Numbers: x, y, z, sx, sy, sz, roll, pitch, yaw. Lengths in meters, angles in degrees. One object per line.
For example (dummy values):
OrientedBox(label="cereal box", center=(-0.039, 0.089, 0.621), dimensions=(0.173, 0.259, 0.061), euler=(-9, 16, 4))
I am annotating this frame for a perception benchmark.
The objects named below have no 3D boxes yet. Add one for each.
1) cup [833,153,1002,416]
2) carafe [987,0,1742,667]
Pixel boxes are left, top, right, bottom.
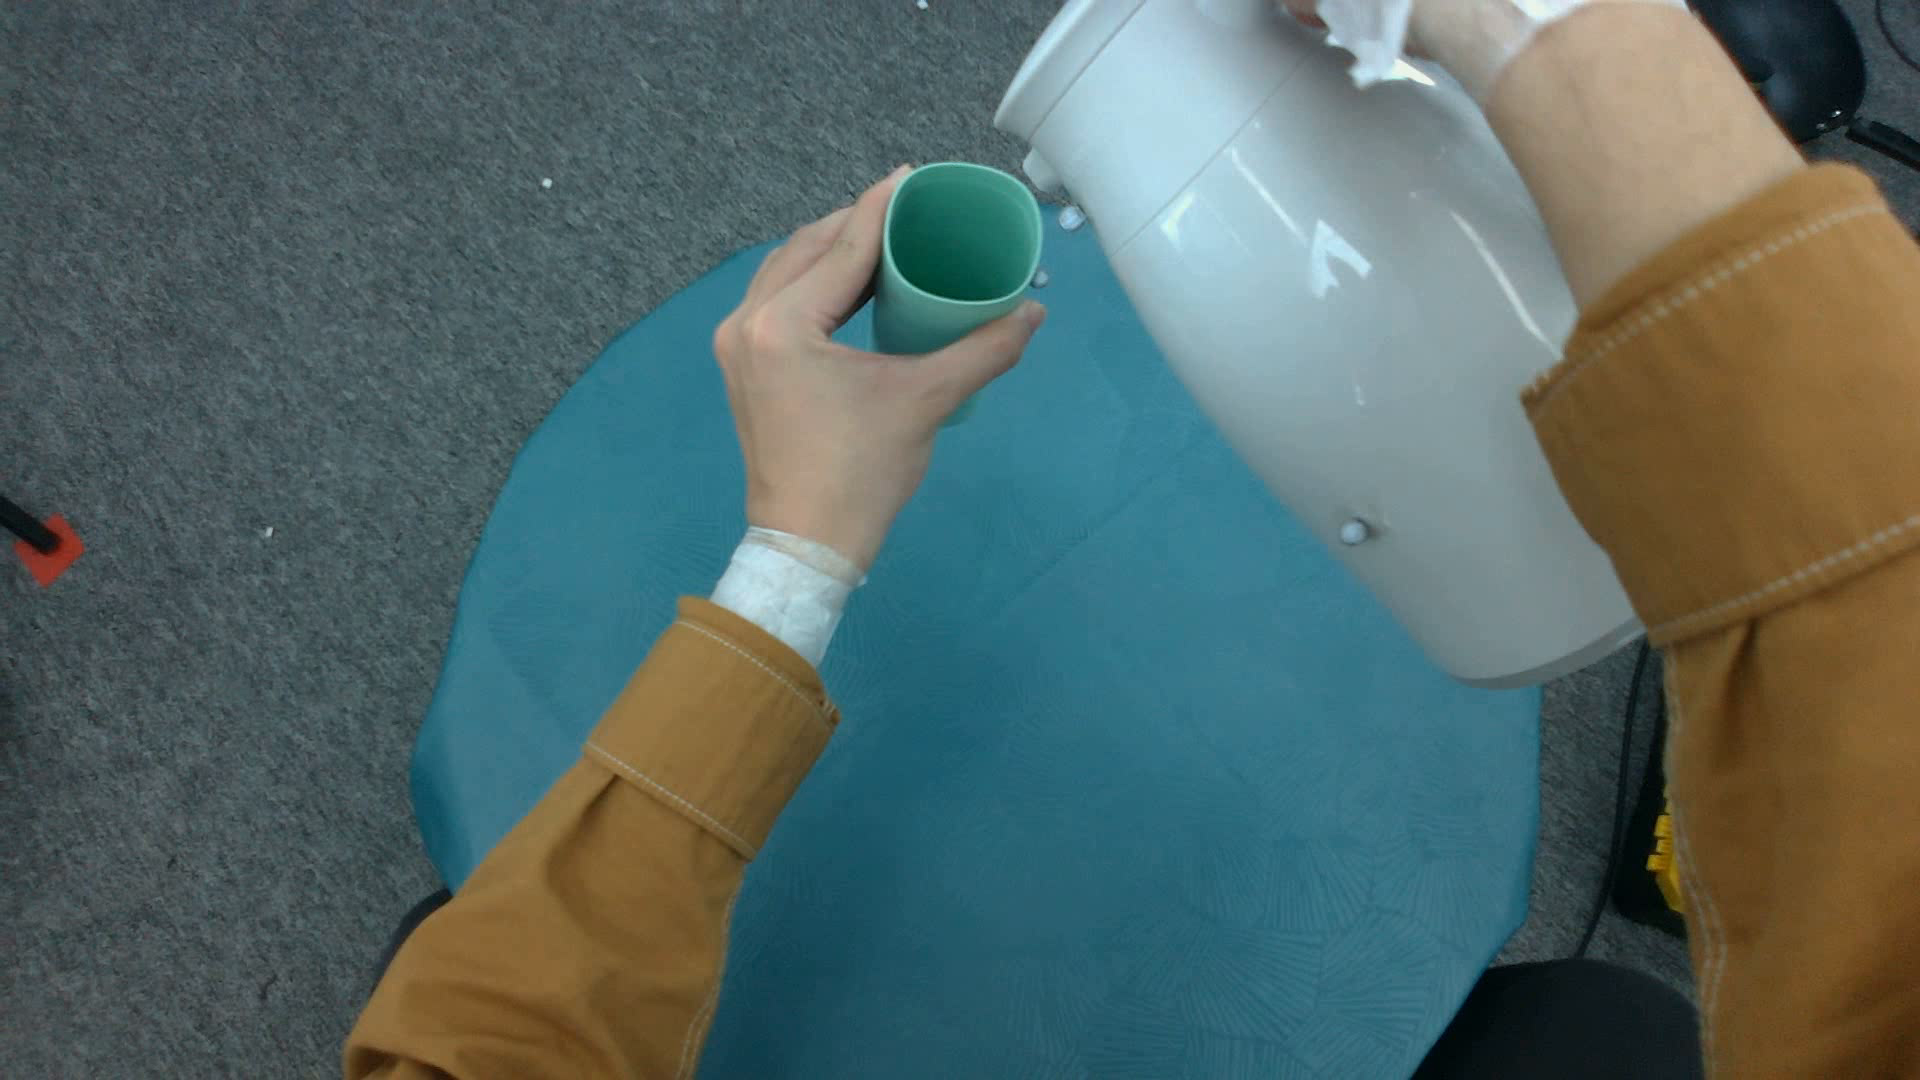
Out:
OrientedBox(label="cup", center=(-0.023, -0.107, 0.610), dimensions=(0.067, 0.132, 0.067), euler=(2, 72, -7))
OrientedBox(label="carafe", center=(0.132, -0.095, 0.443), dimensions=(0.248, 0.167, 0.133), euler=(46, 56, -10))
